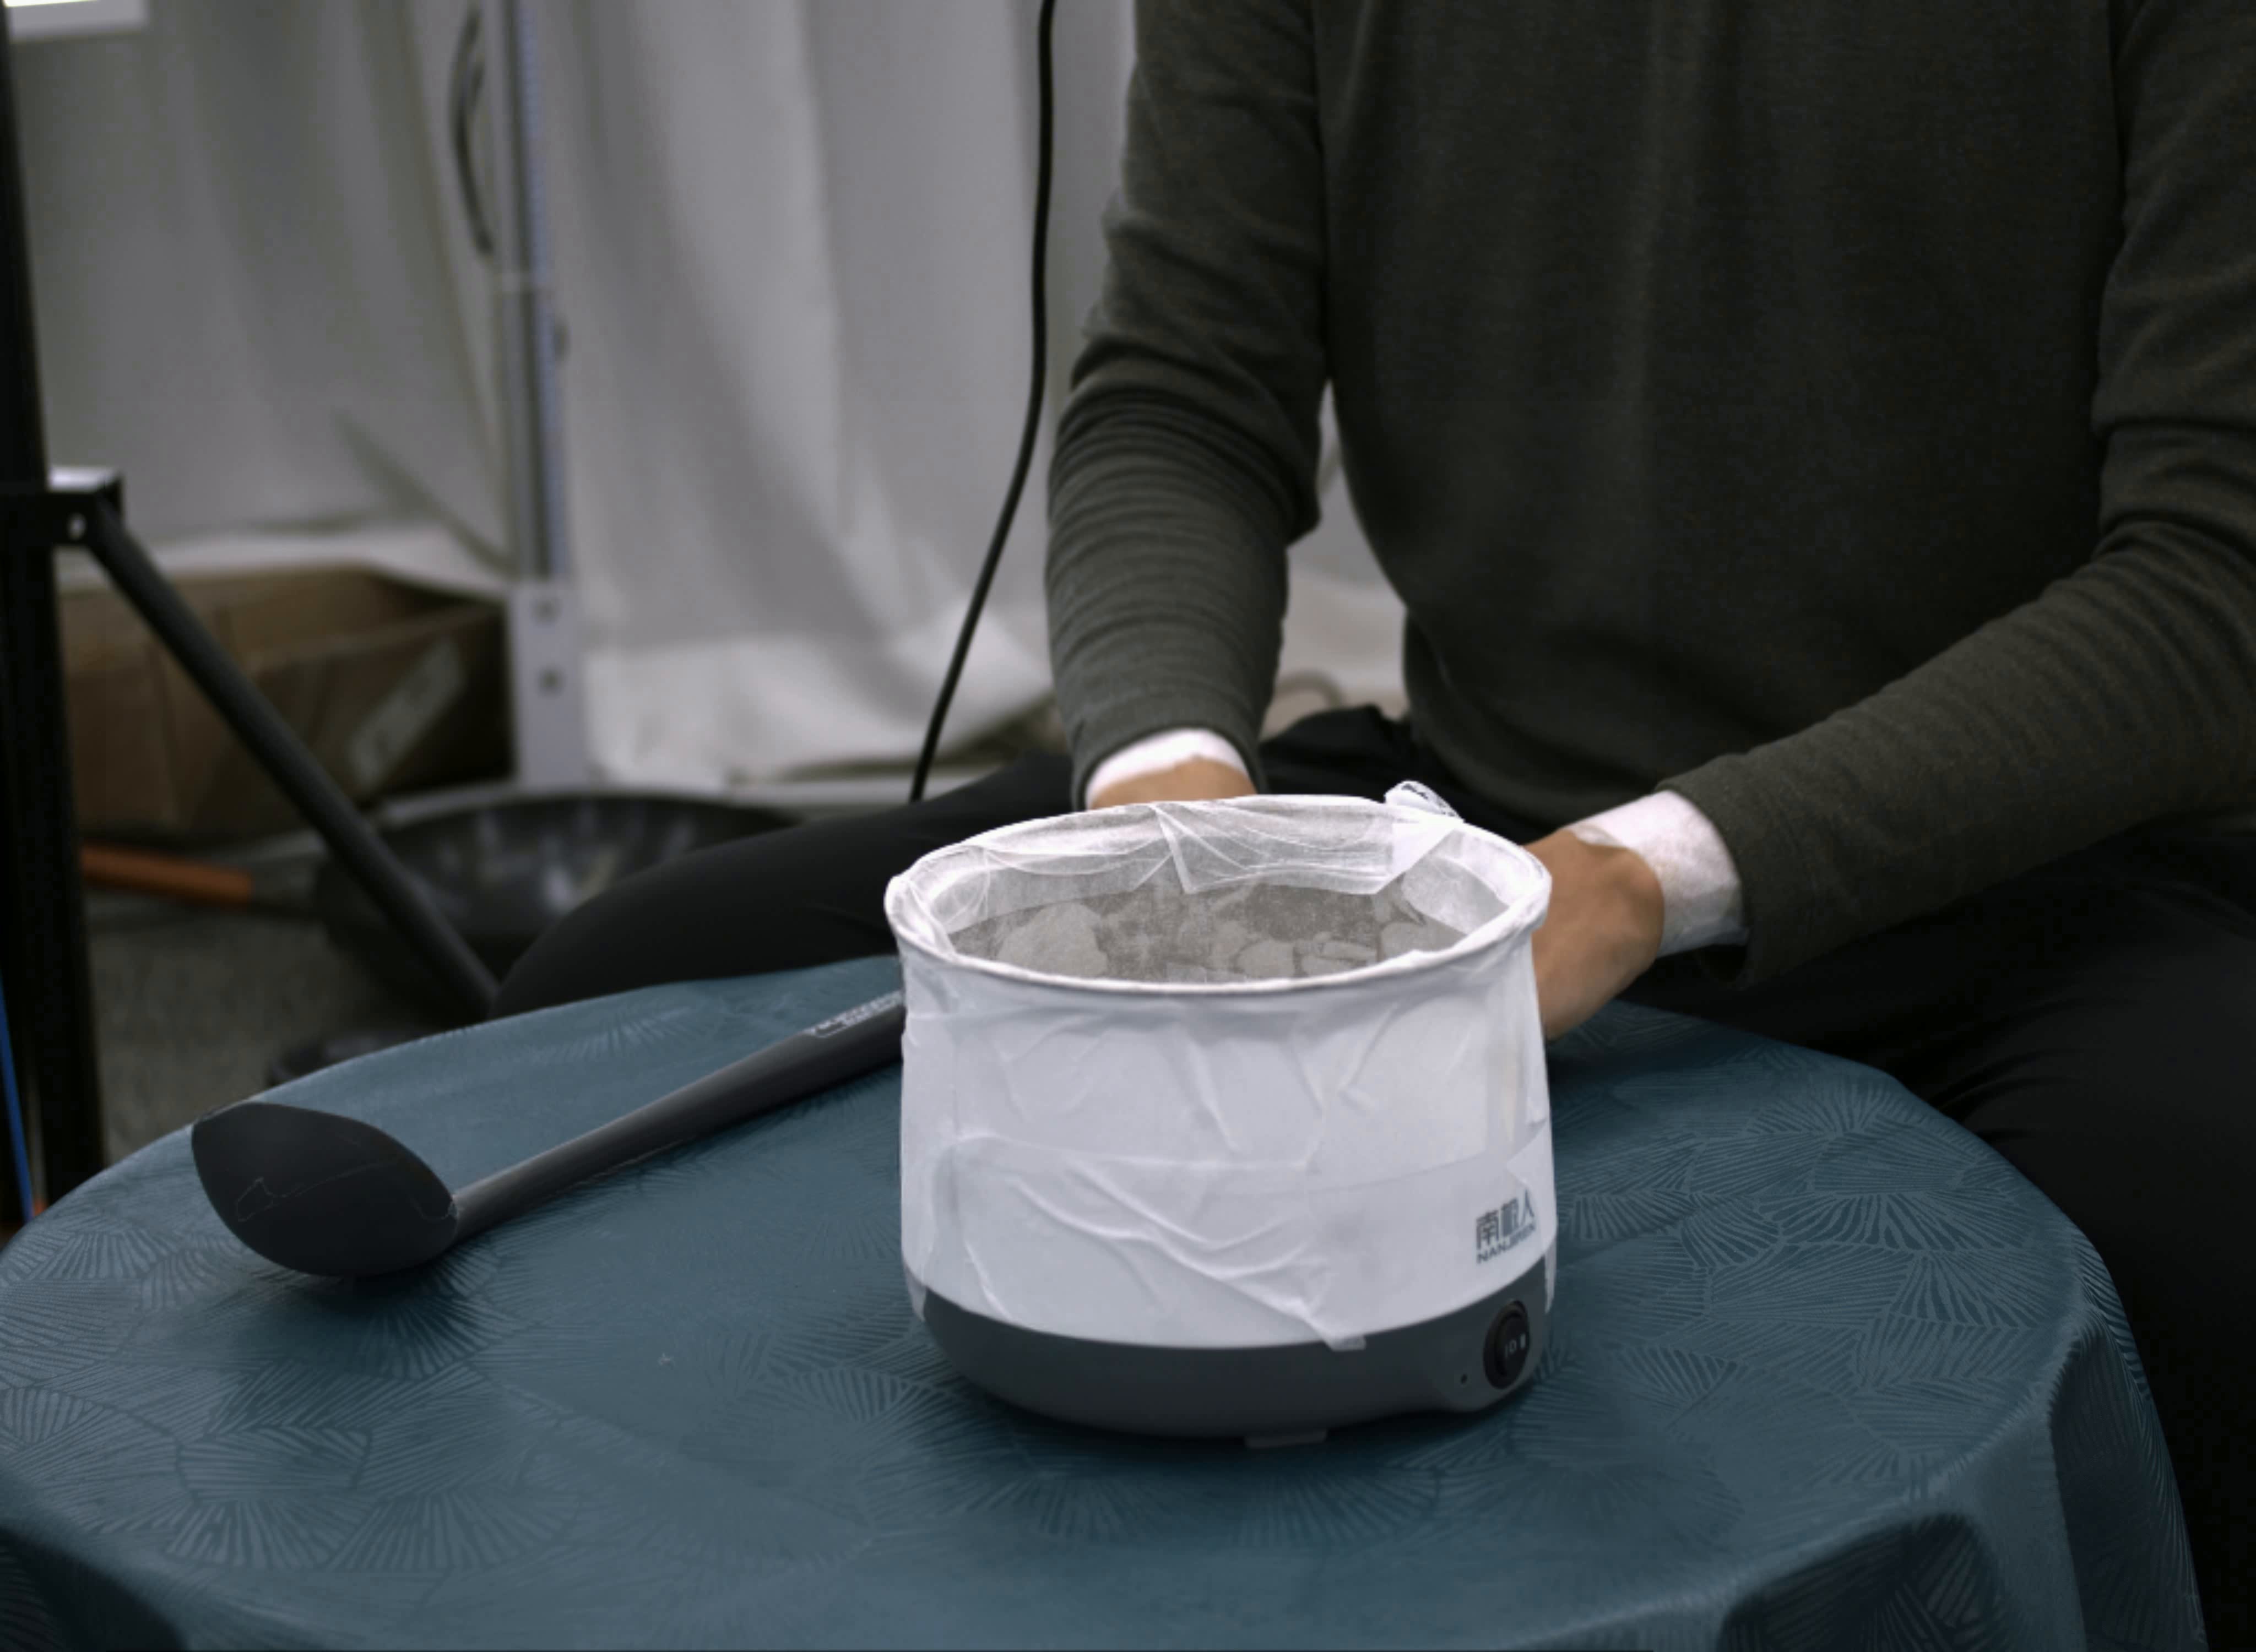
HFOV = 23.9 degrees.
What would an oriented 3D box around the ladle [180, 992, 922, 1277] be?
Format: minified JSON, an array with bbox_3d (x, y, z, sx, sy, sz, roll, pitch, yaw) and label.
[{"bbox_3d":[-0.153,0.072,1.599,0.088,0.064,0.307,10,20,36],"label":"ladle"}]

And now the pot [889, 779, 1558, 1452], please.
[{"bbox_3d":[0.042,0.070,1.437,0.182,0.136,0.229,9,19,33],"label":"pot"}]
